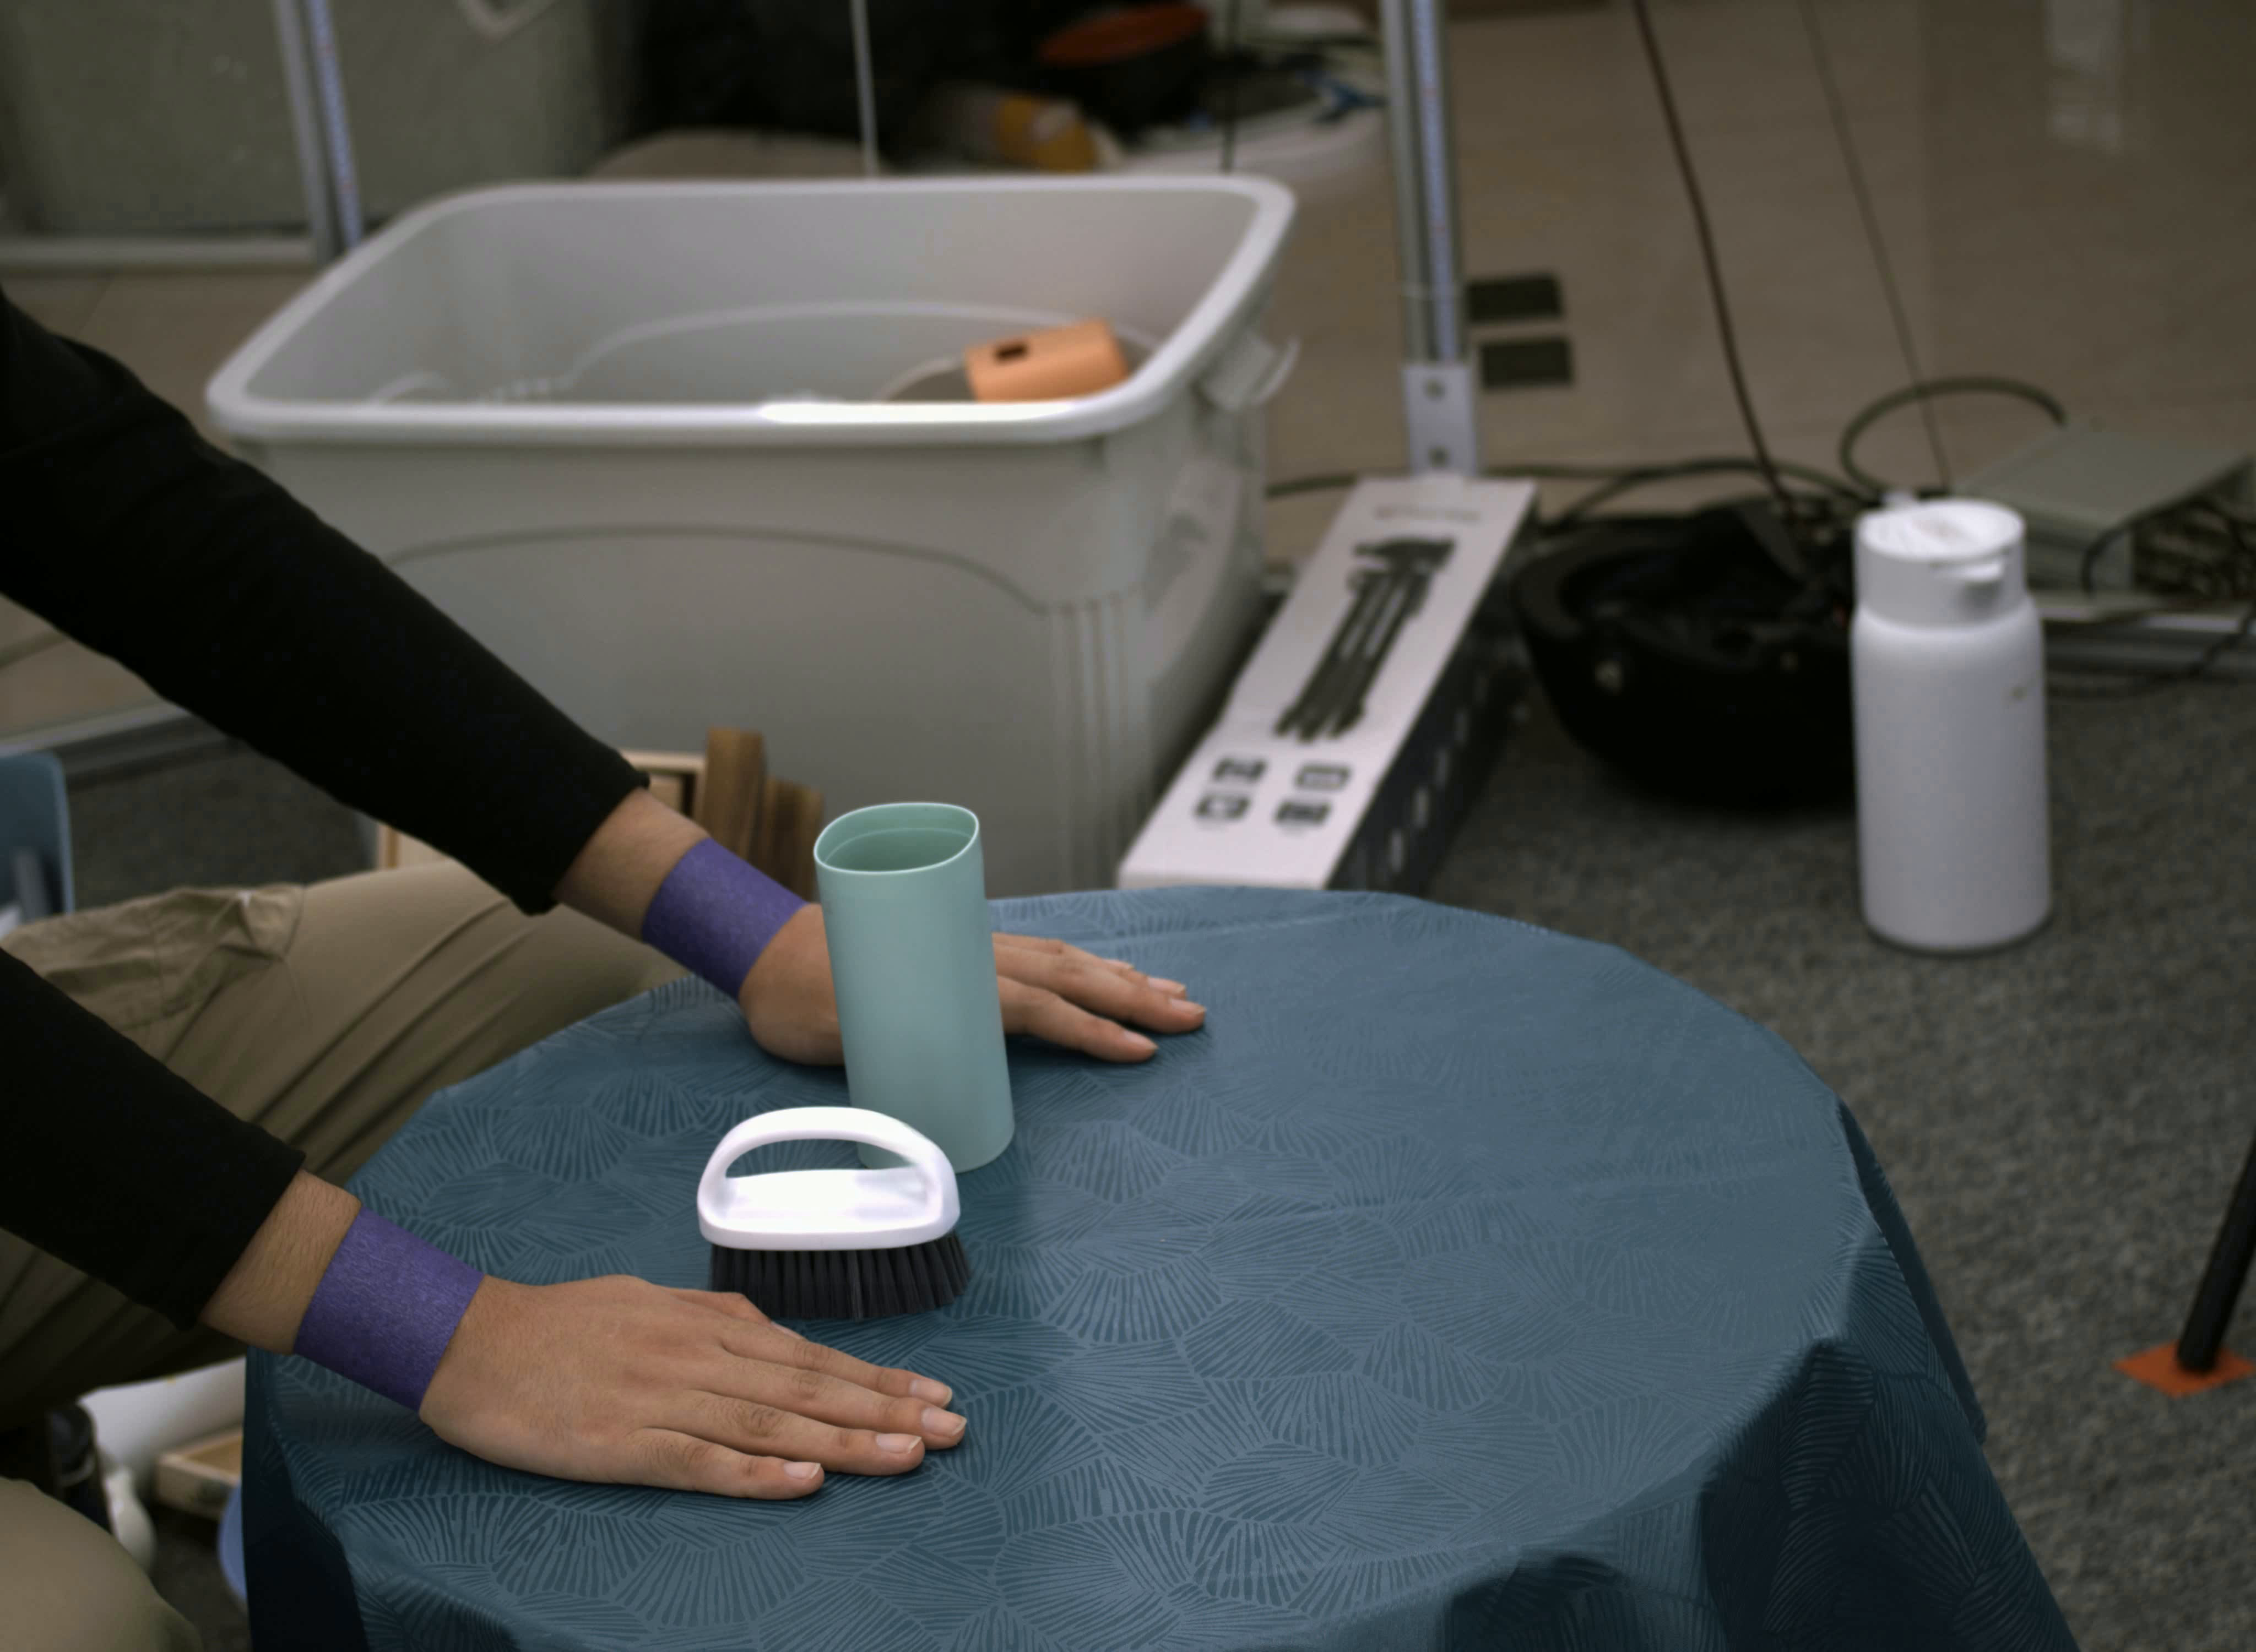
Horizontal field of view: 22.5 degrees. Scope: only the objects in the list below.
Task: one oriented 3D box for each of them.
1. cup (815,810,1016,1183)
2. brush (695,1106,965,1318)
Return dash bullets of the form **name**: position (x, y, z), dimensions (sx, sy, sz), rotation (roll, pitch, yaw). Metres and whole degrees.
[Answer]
- **cup**: position (-0.081, 0.066, 2.175), dimensions (0.066, 0.134, 0.066), rotation (-5, 26, 2)
- **brush**: position (-0.112, 0.138, 2.088), dimensions (0.099, 0.073, 0.049), rotation (0, 26, 12)
